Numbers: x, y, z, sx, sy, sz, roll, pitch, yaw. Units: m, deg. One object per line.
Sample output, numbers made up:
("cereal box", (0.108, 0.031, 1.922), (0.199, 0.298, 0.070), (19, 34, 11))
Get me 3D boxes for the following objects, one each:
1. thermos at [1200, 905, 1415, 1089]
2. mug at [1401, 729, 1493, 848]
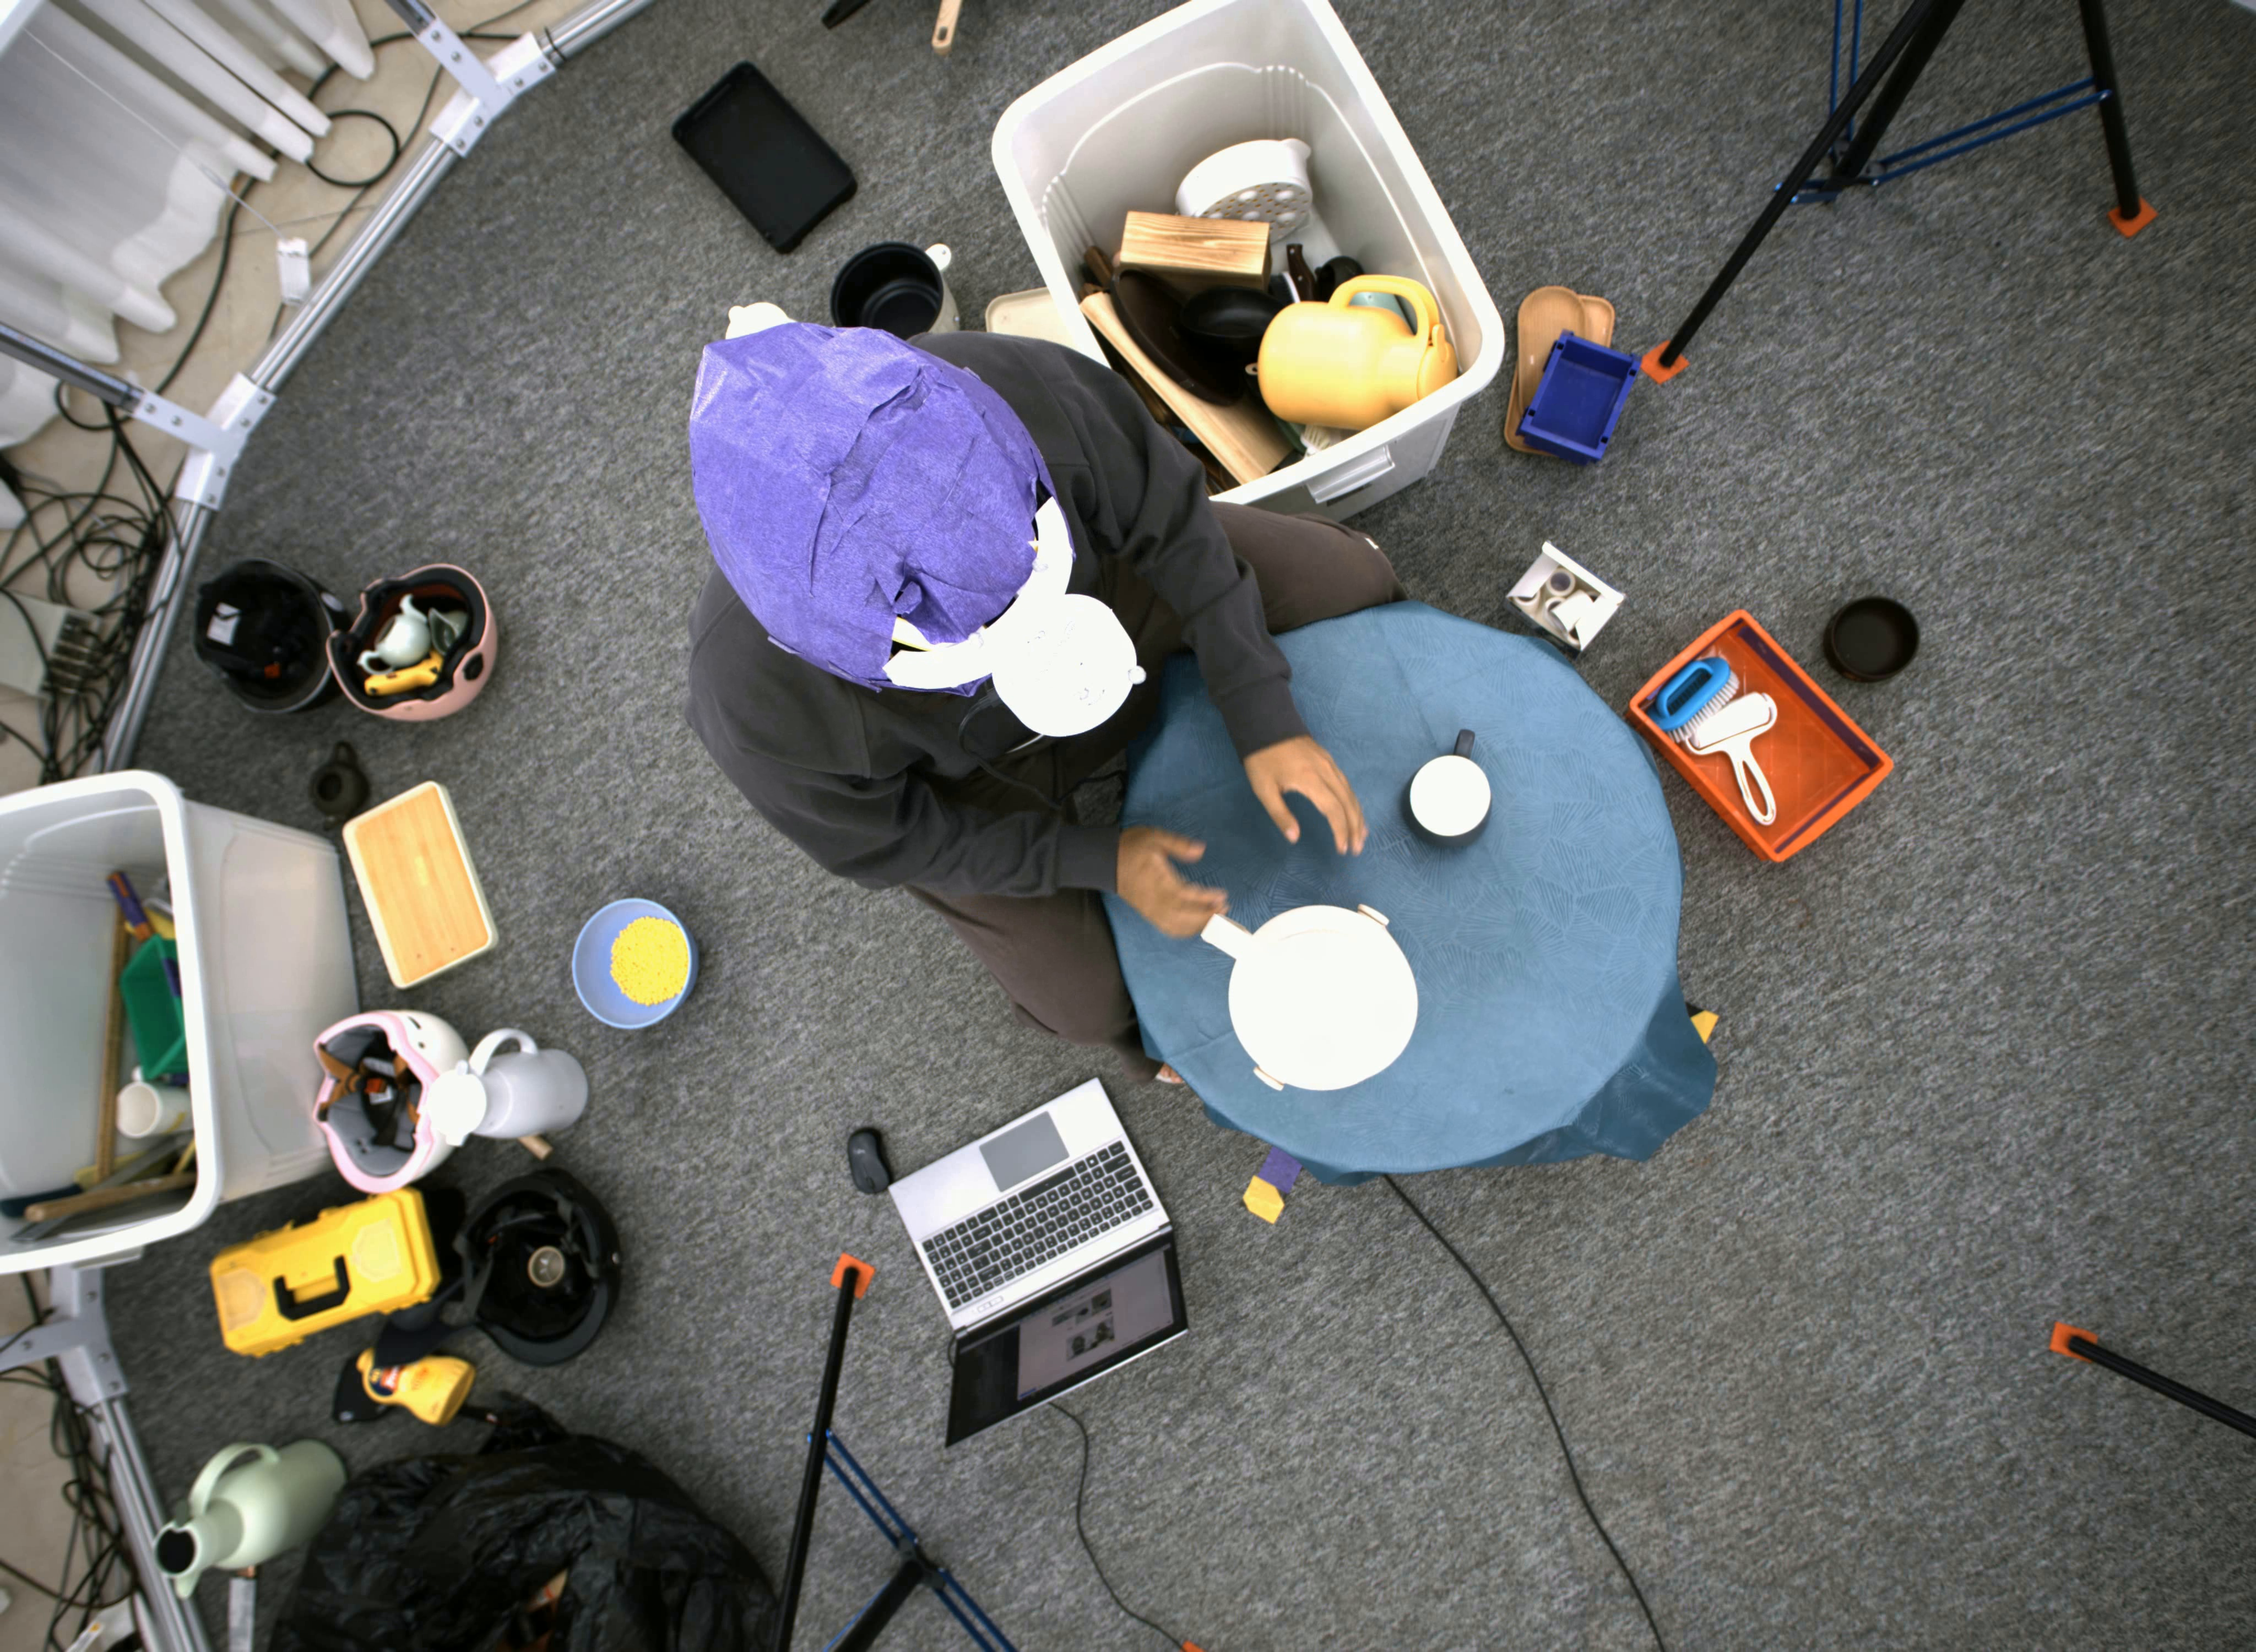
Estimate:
("thermos", (0.166, 0.148, 1.274), (0.206, 0.407, 0.175), (32, 90, 11))
("mug", (0.333, -0.043, 1.409), (0.093, 0.090, 0.123), (19, 90, 12))
